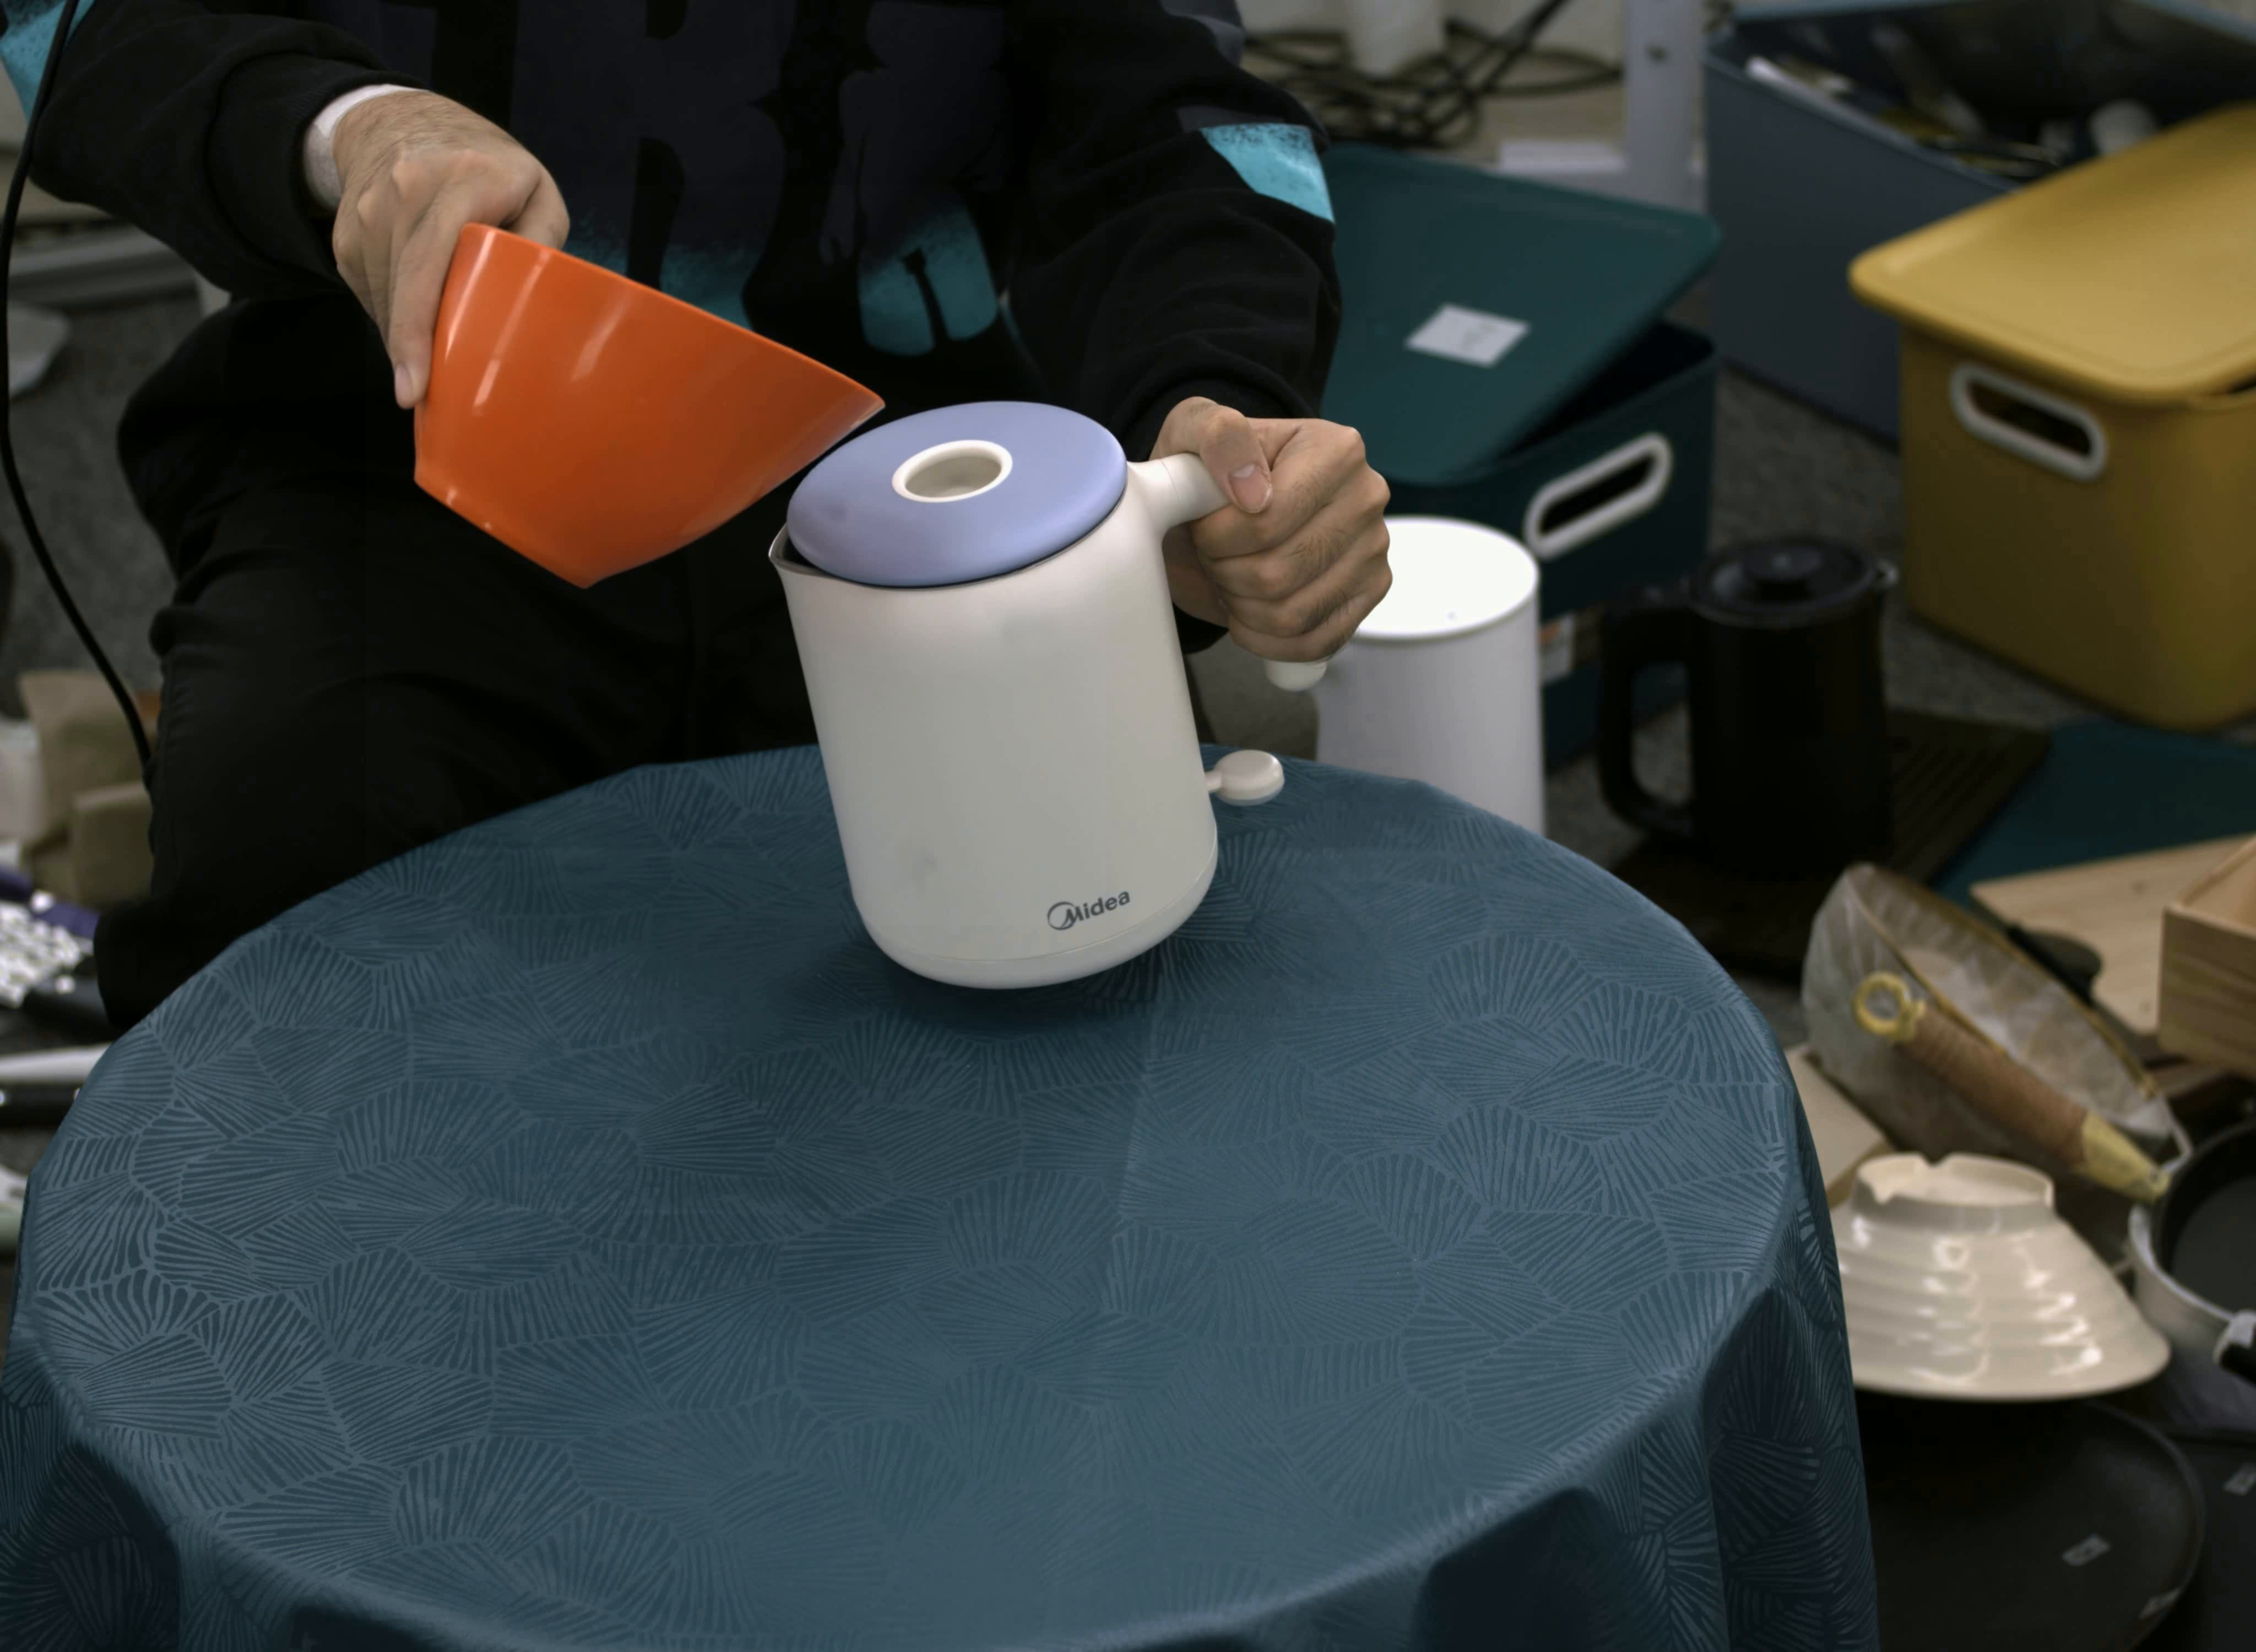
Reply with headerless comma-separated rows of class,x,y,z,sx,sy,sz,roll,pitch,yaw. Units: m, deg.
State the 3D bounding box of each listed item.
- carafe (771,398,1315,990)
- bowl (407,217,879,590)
carafe,-0.024,-0.054,1.966,0.191,0.180,0.133,-17,32,-16
bowl,-0.171,-0.132,1.836,0.148,0.105,0.148,32,1,0
